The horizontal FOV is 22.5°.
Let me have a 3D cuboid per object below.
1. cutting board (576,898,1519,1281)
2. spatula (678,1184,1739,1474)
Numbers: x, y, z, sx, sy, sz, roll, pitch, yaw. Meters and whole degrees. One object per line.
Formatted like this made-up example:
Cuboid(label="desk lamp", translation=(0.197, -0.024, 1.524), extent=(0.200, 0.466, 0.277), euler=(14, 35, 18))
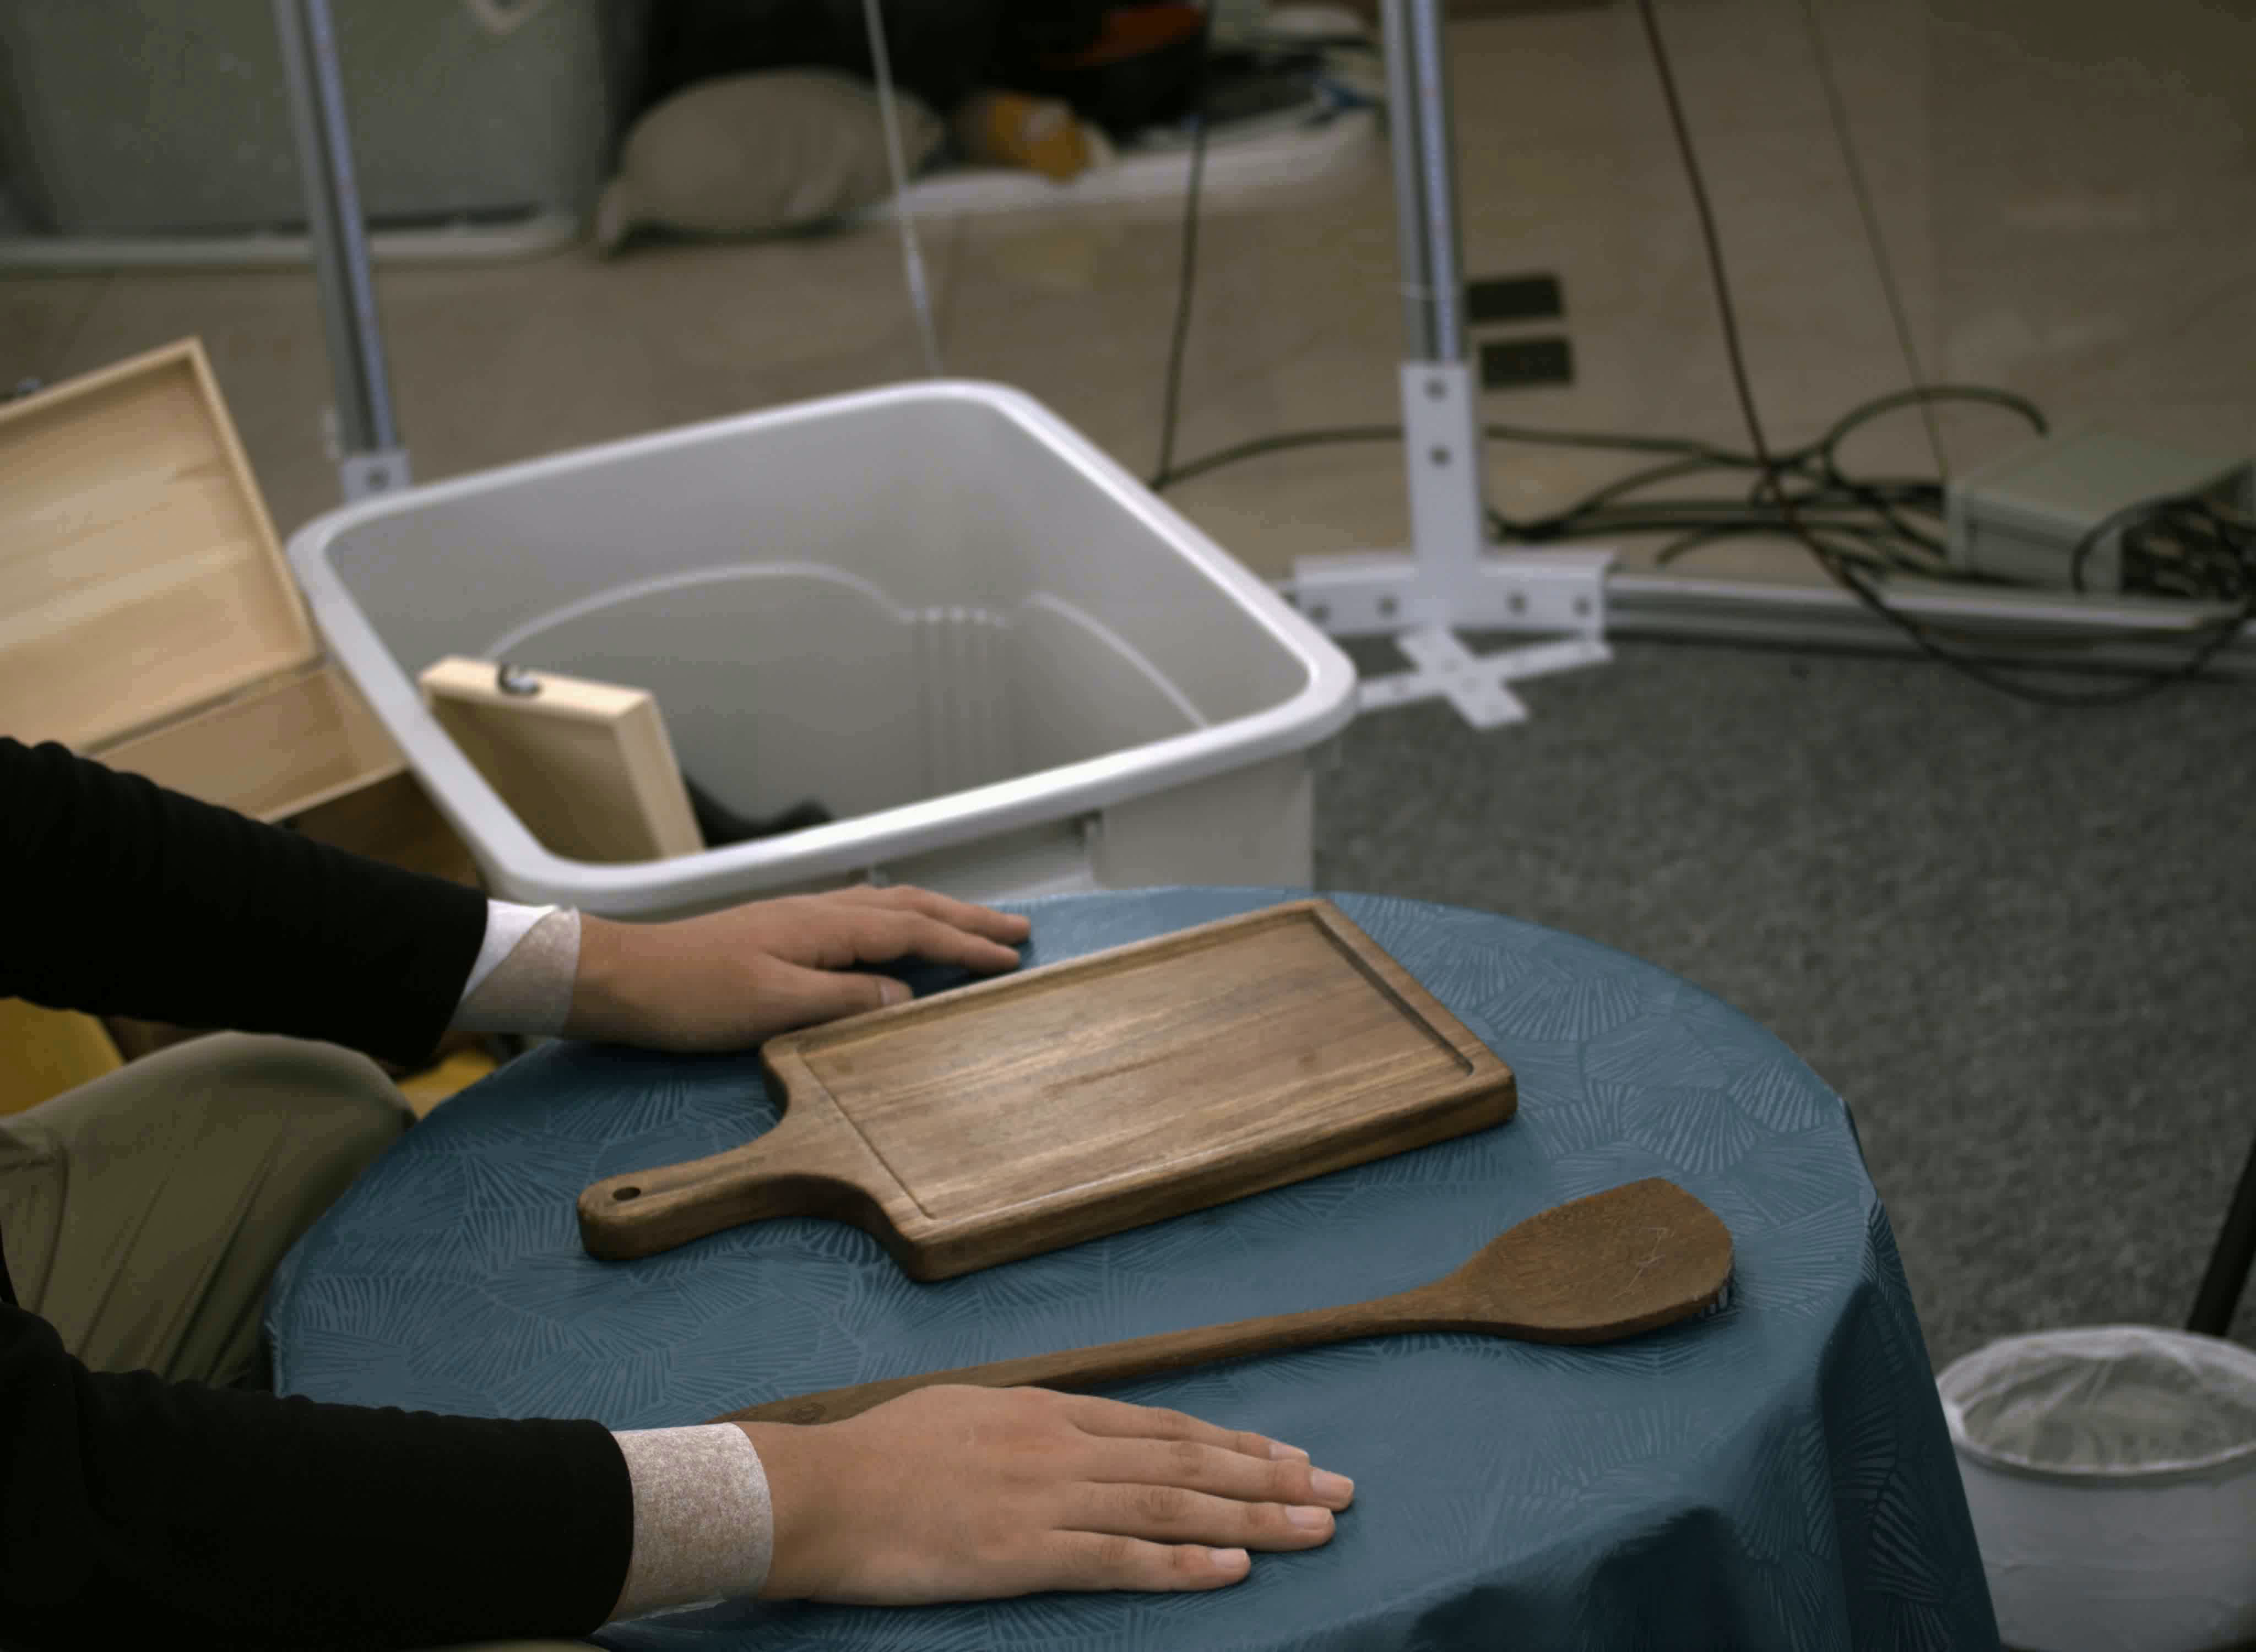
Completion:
Cuboid(label="cutting board", translation=(-0.046, 0.110, 2.196), extent=(0.351, 0.023, 0.198), euler=(-15, 26, -17))
Cuboid(label="spatula", translation=(0.029, 0.185, 2.024), extent=(0.385, 0.016, 0.095), euler=(-10, 25, -8))
